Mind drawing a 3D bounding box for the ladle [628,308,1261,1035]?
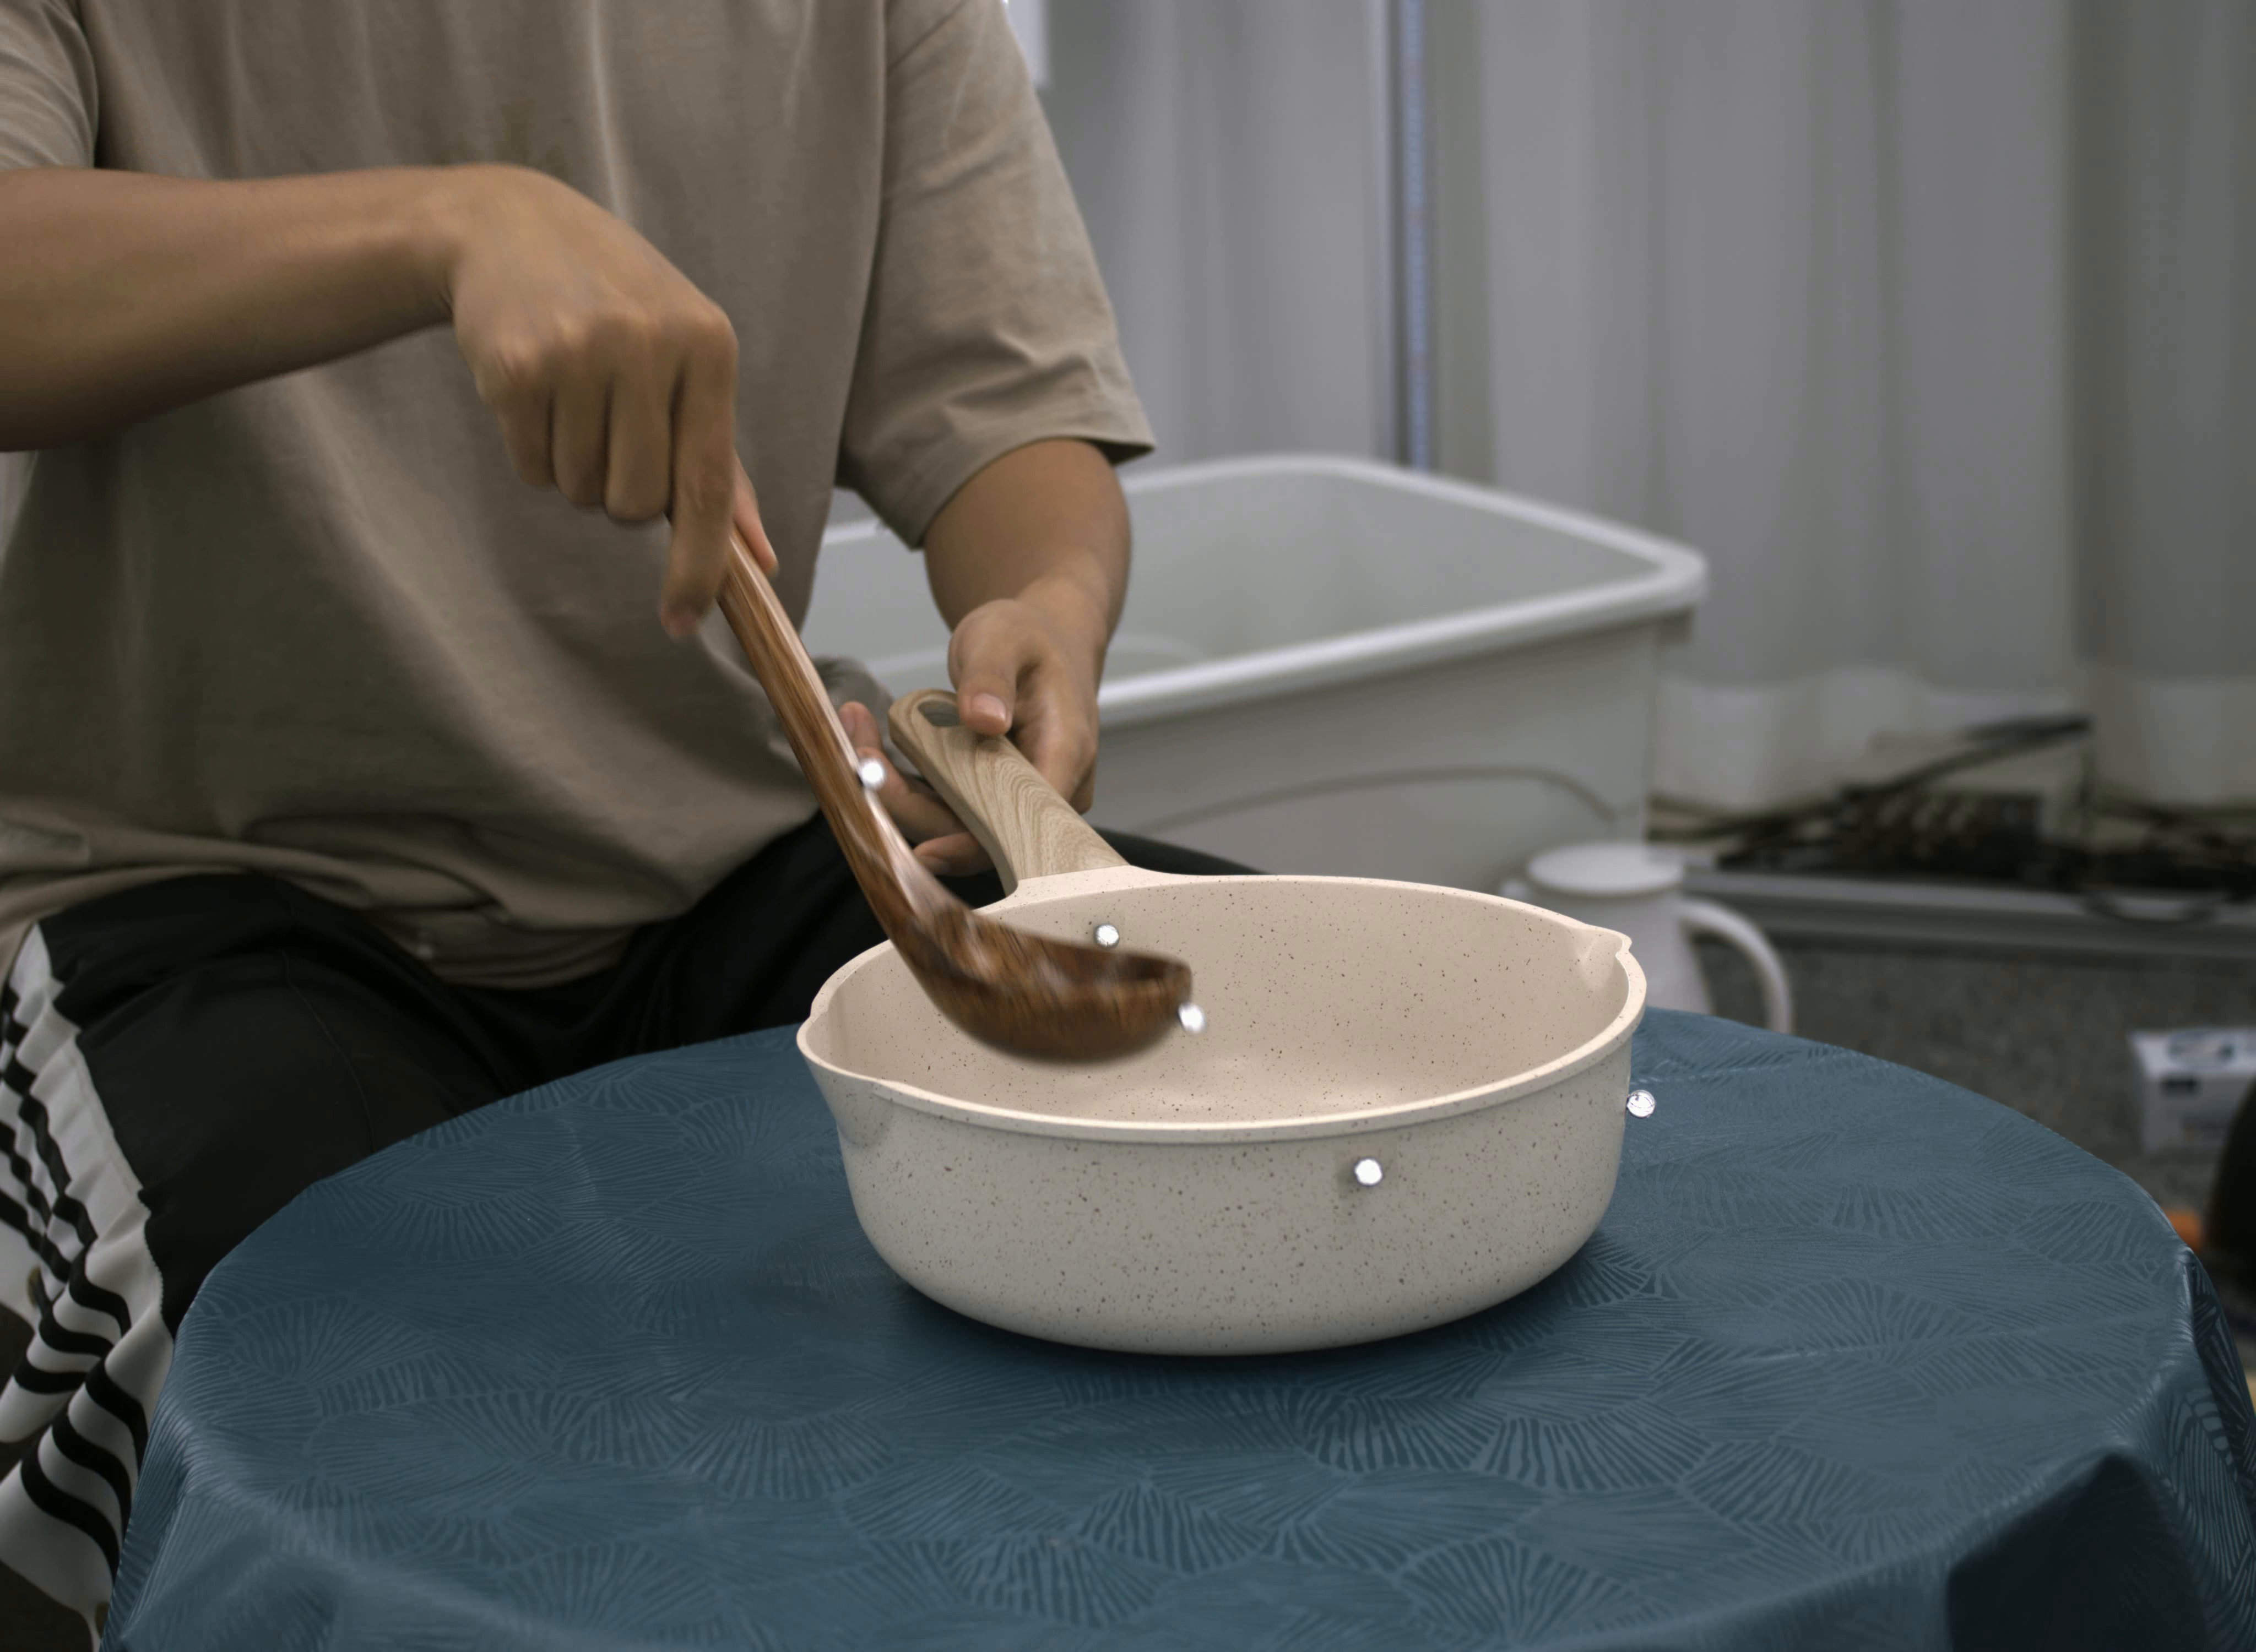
[{"bbox_3d":[-0.054,-0.053,1.642,0.076,0.275,0.082,-31,-7,14],"label":"ladle"}]

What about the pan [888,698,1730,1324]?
[{"bbox_3d":[0.026,0.052,1.735,0.262,0.101,0.438,-9,16,-18],"label":"pan"}]
